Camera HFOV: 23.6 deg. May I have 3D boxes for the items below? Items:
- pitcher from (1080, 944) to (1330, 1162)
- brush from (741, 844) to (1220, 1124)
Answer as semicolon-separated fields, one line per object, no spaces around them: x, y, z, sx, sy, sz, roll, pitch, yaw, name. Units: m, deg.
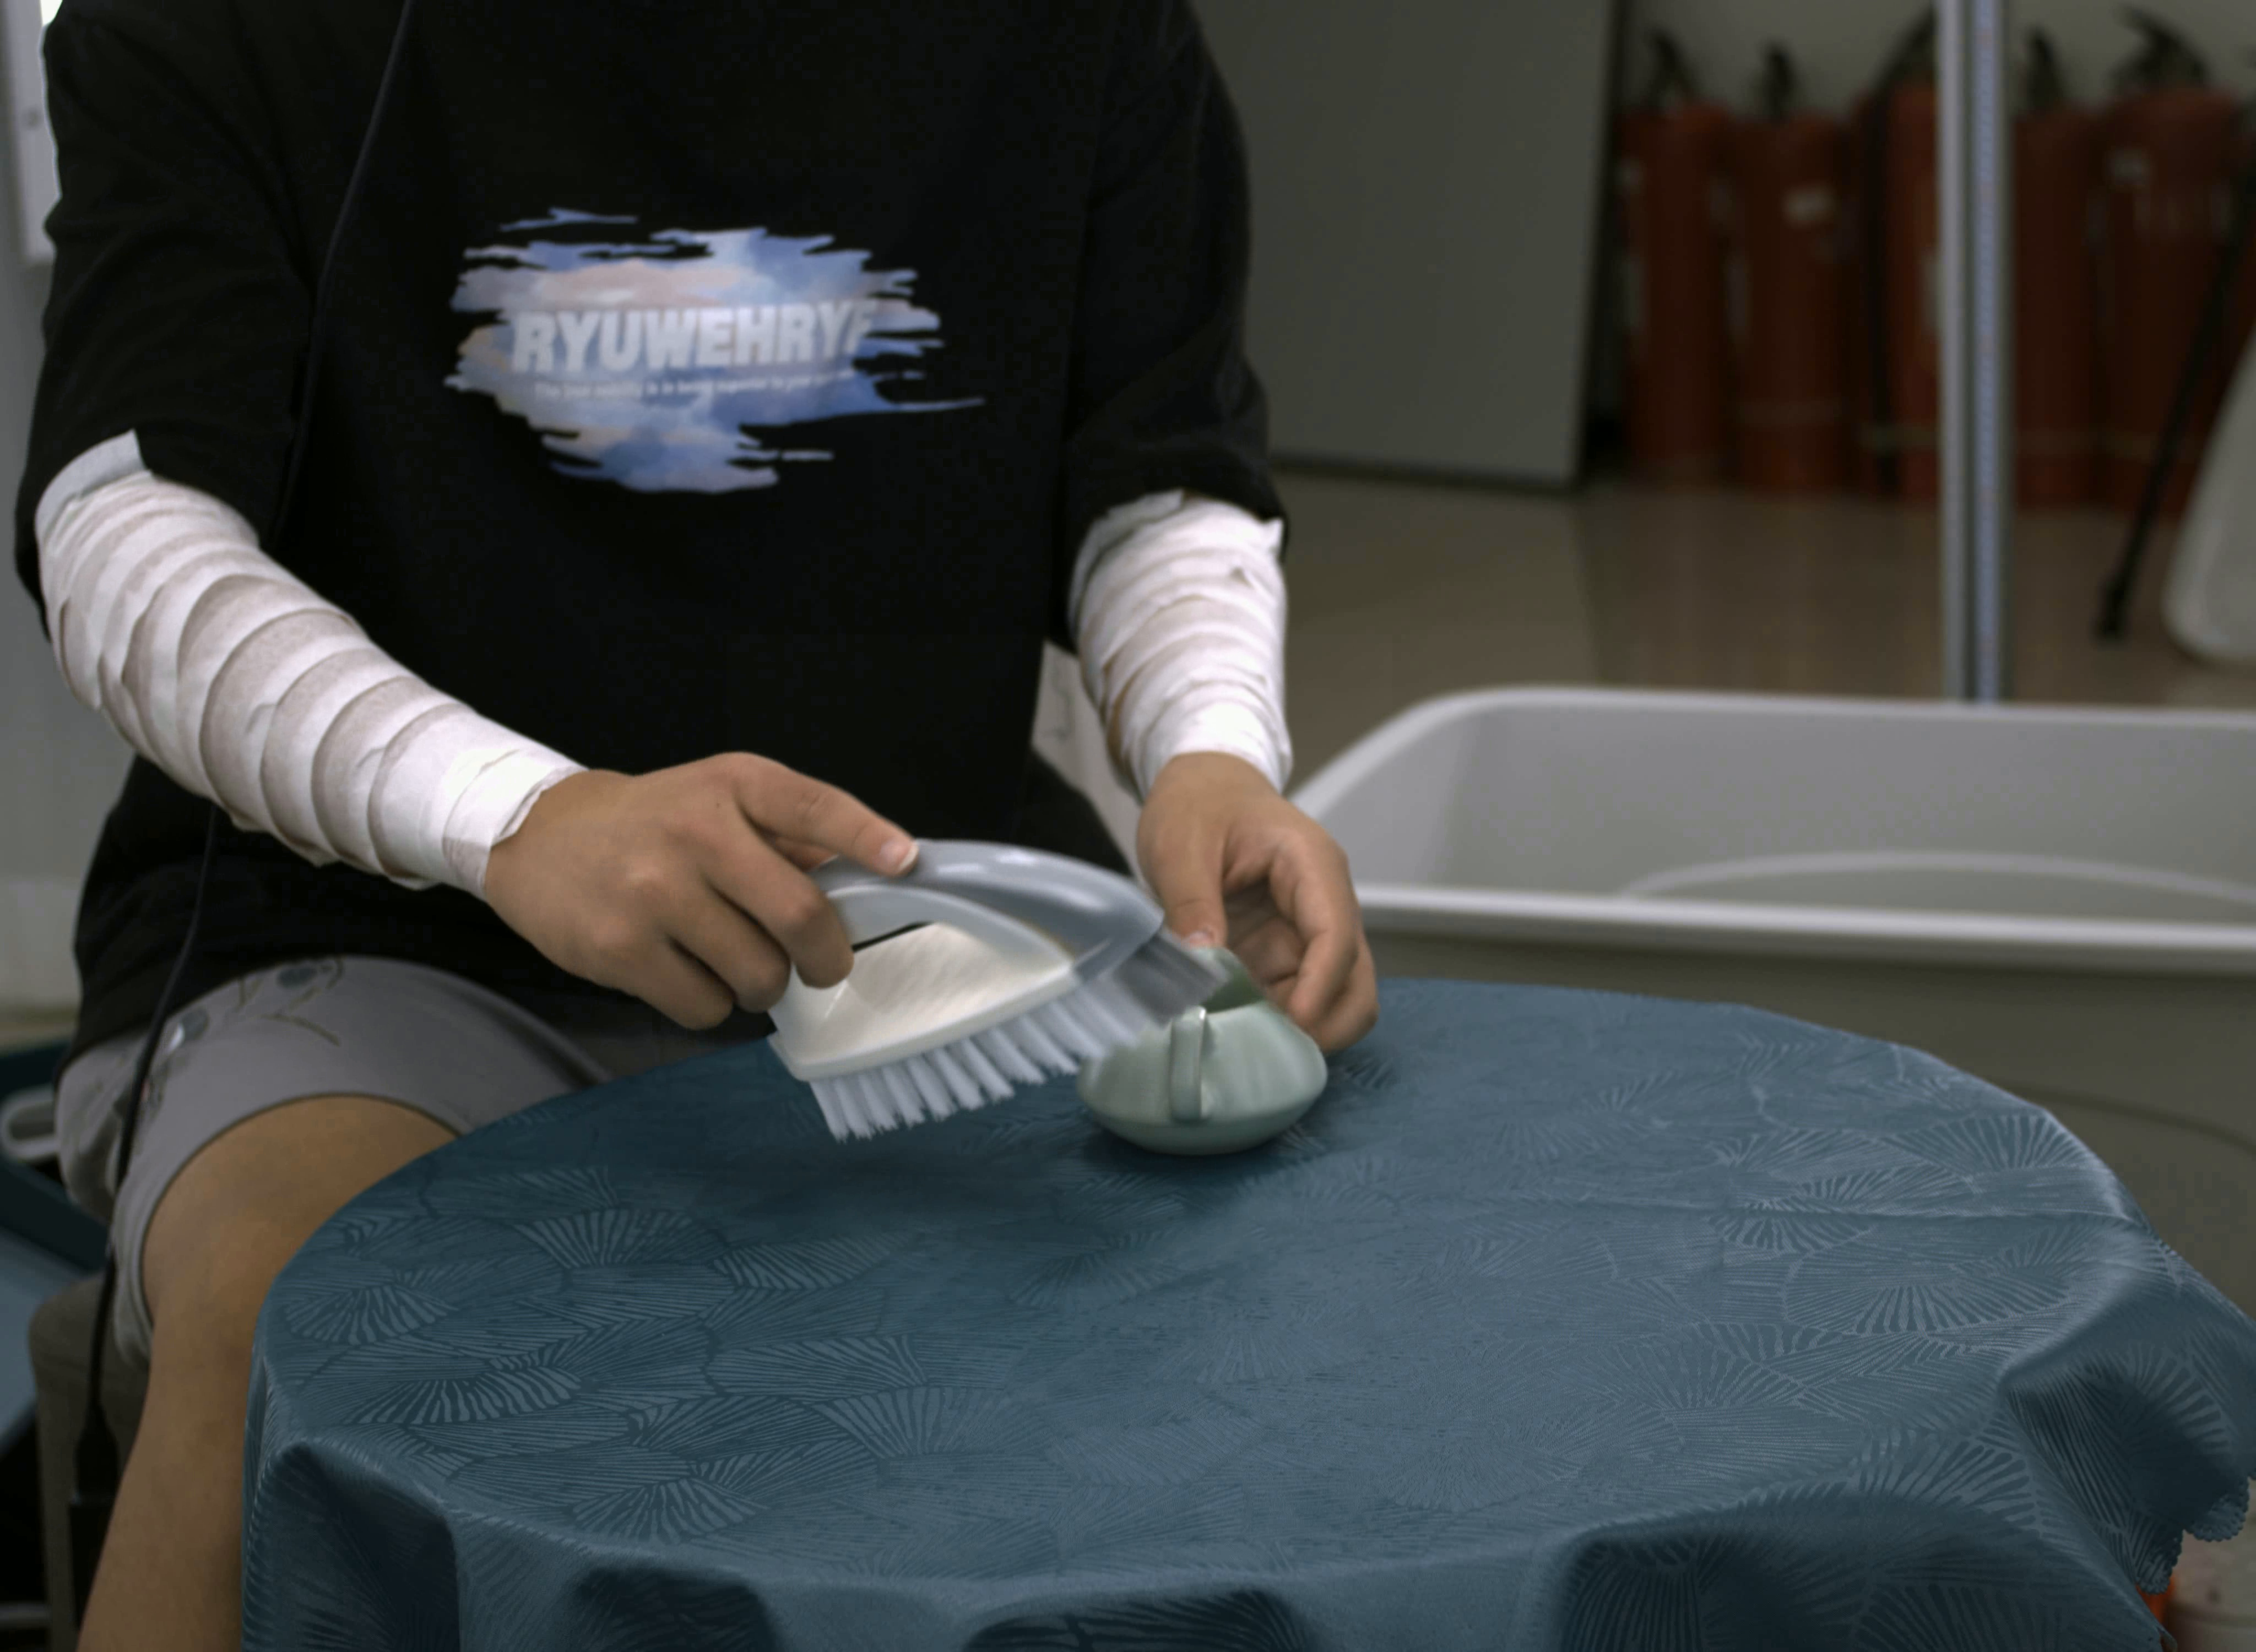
0.025;0.082;1.810;0.085;0.061;0.108;-4;16;4;pitcher
-0.056;0.040;1.753;0.177;0.093;0.061;-14;39;44;brush
